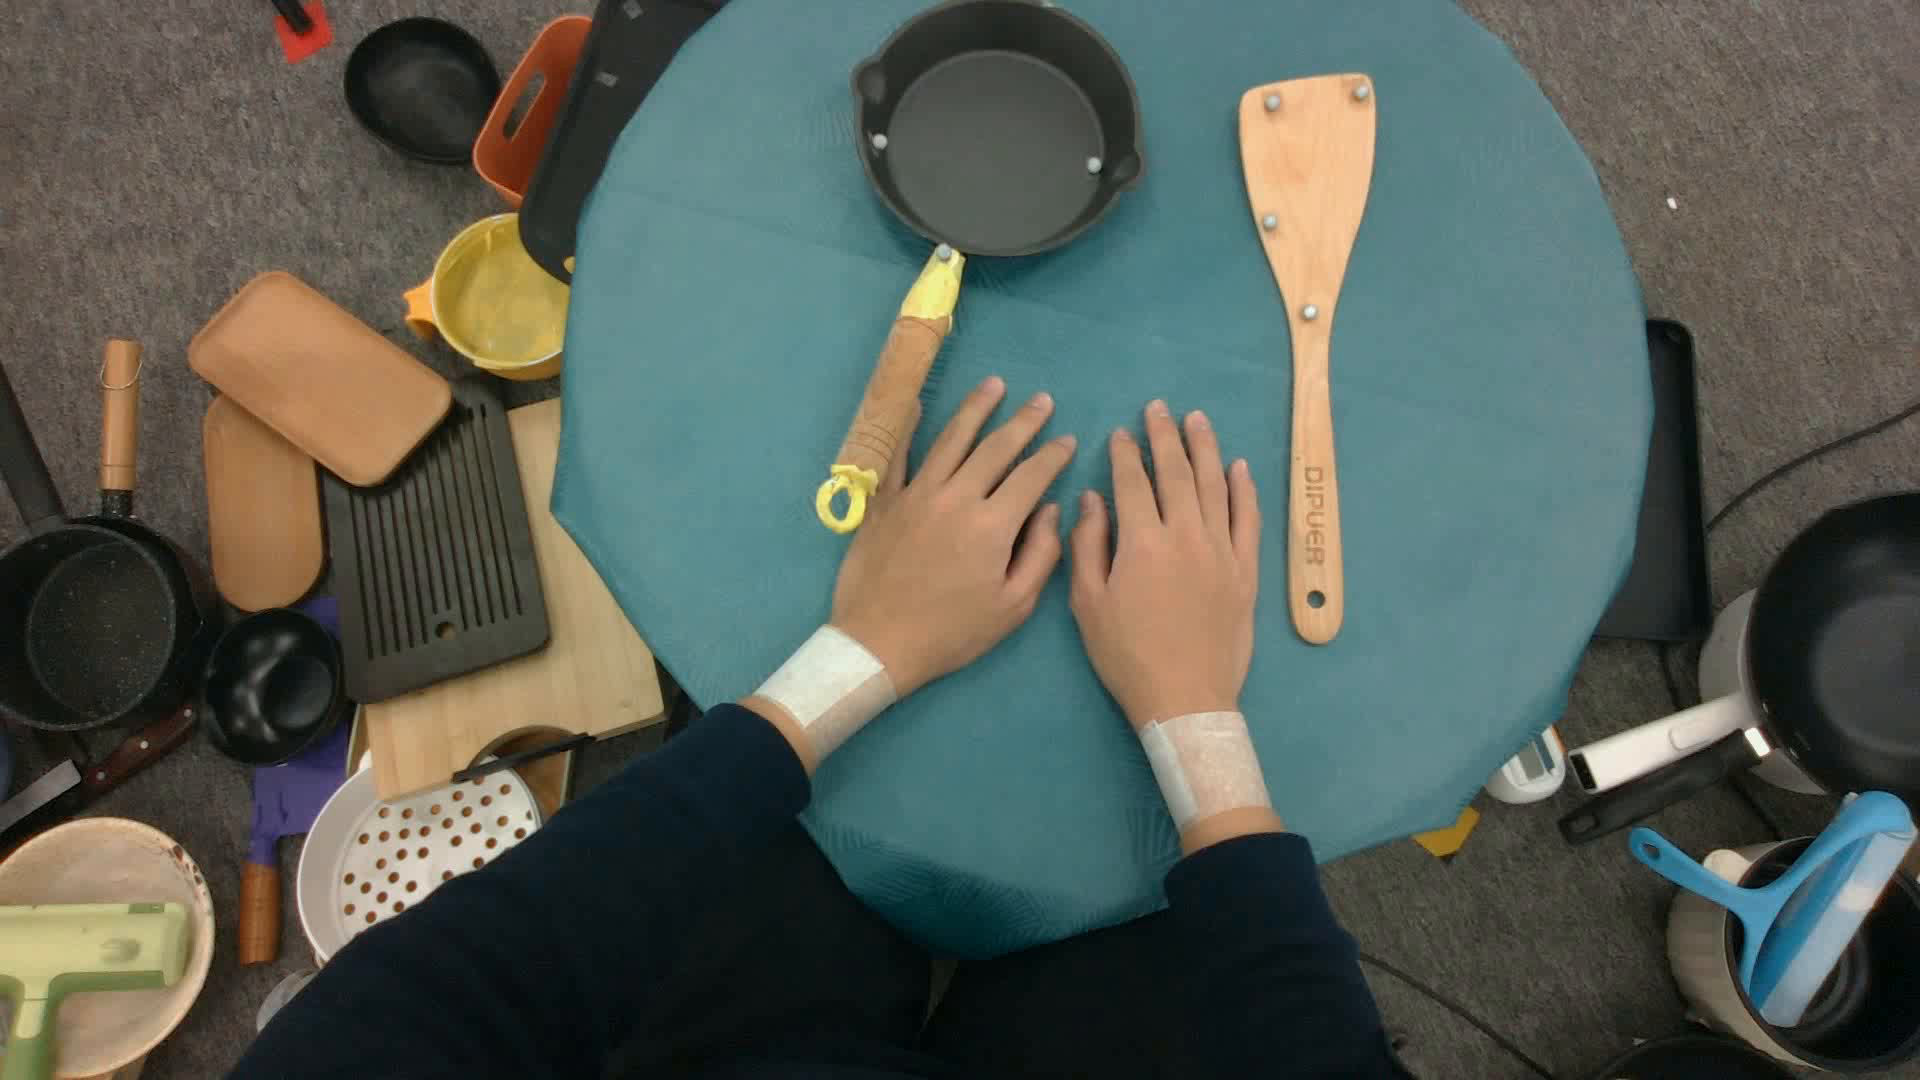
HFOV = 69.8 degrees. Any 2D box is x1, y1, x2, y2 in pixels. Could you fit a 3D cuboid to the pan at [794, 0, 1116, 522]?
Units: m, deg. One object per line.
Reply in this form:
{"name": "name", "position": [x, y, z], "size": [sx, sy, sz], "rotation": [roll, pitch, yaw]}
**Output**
{"name": "pan", "position": [-0.024, -0.156, 0.738], "size": [0.169, 0.049, 0.325], "rotation": [20, 75, 2]}

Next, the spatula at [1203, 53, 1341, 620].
{"name": "spatula", "position": [0.178, -0.119, 0.756], "size": [0.080, 0.016, 0.328], "rotation": [1, 76, -2]}
